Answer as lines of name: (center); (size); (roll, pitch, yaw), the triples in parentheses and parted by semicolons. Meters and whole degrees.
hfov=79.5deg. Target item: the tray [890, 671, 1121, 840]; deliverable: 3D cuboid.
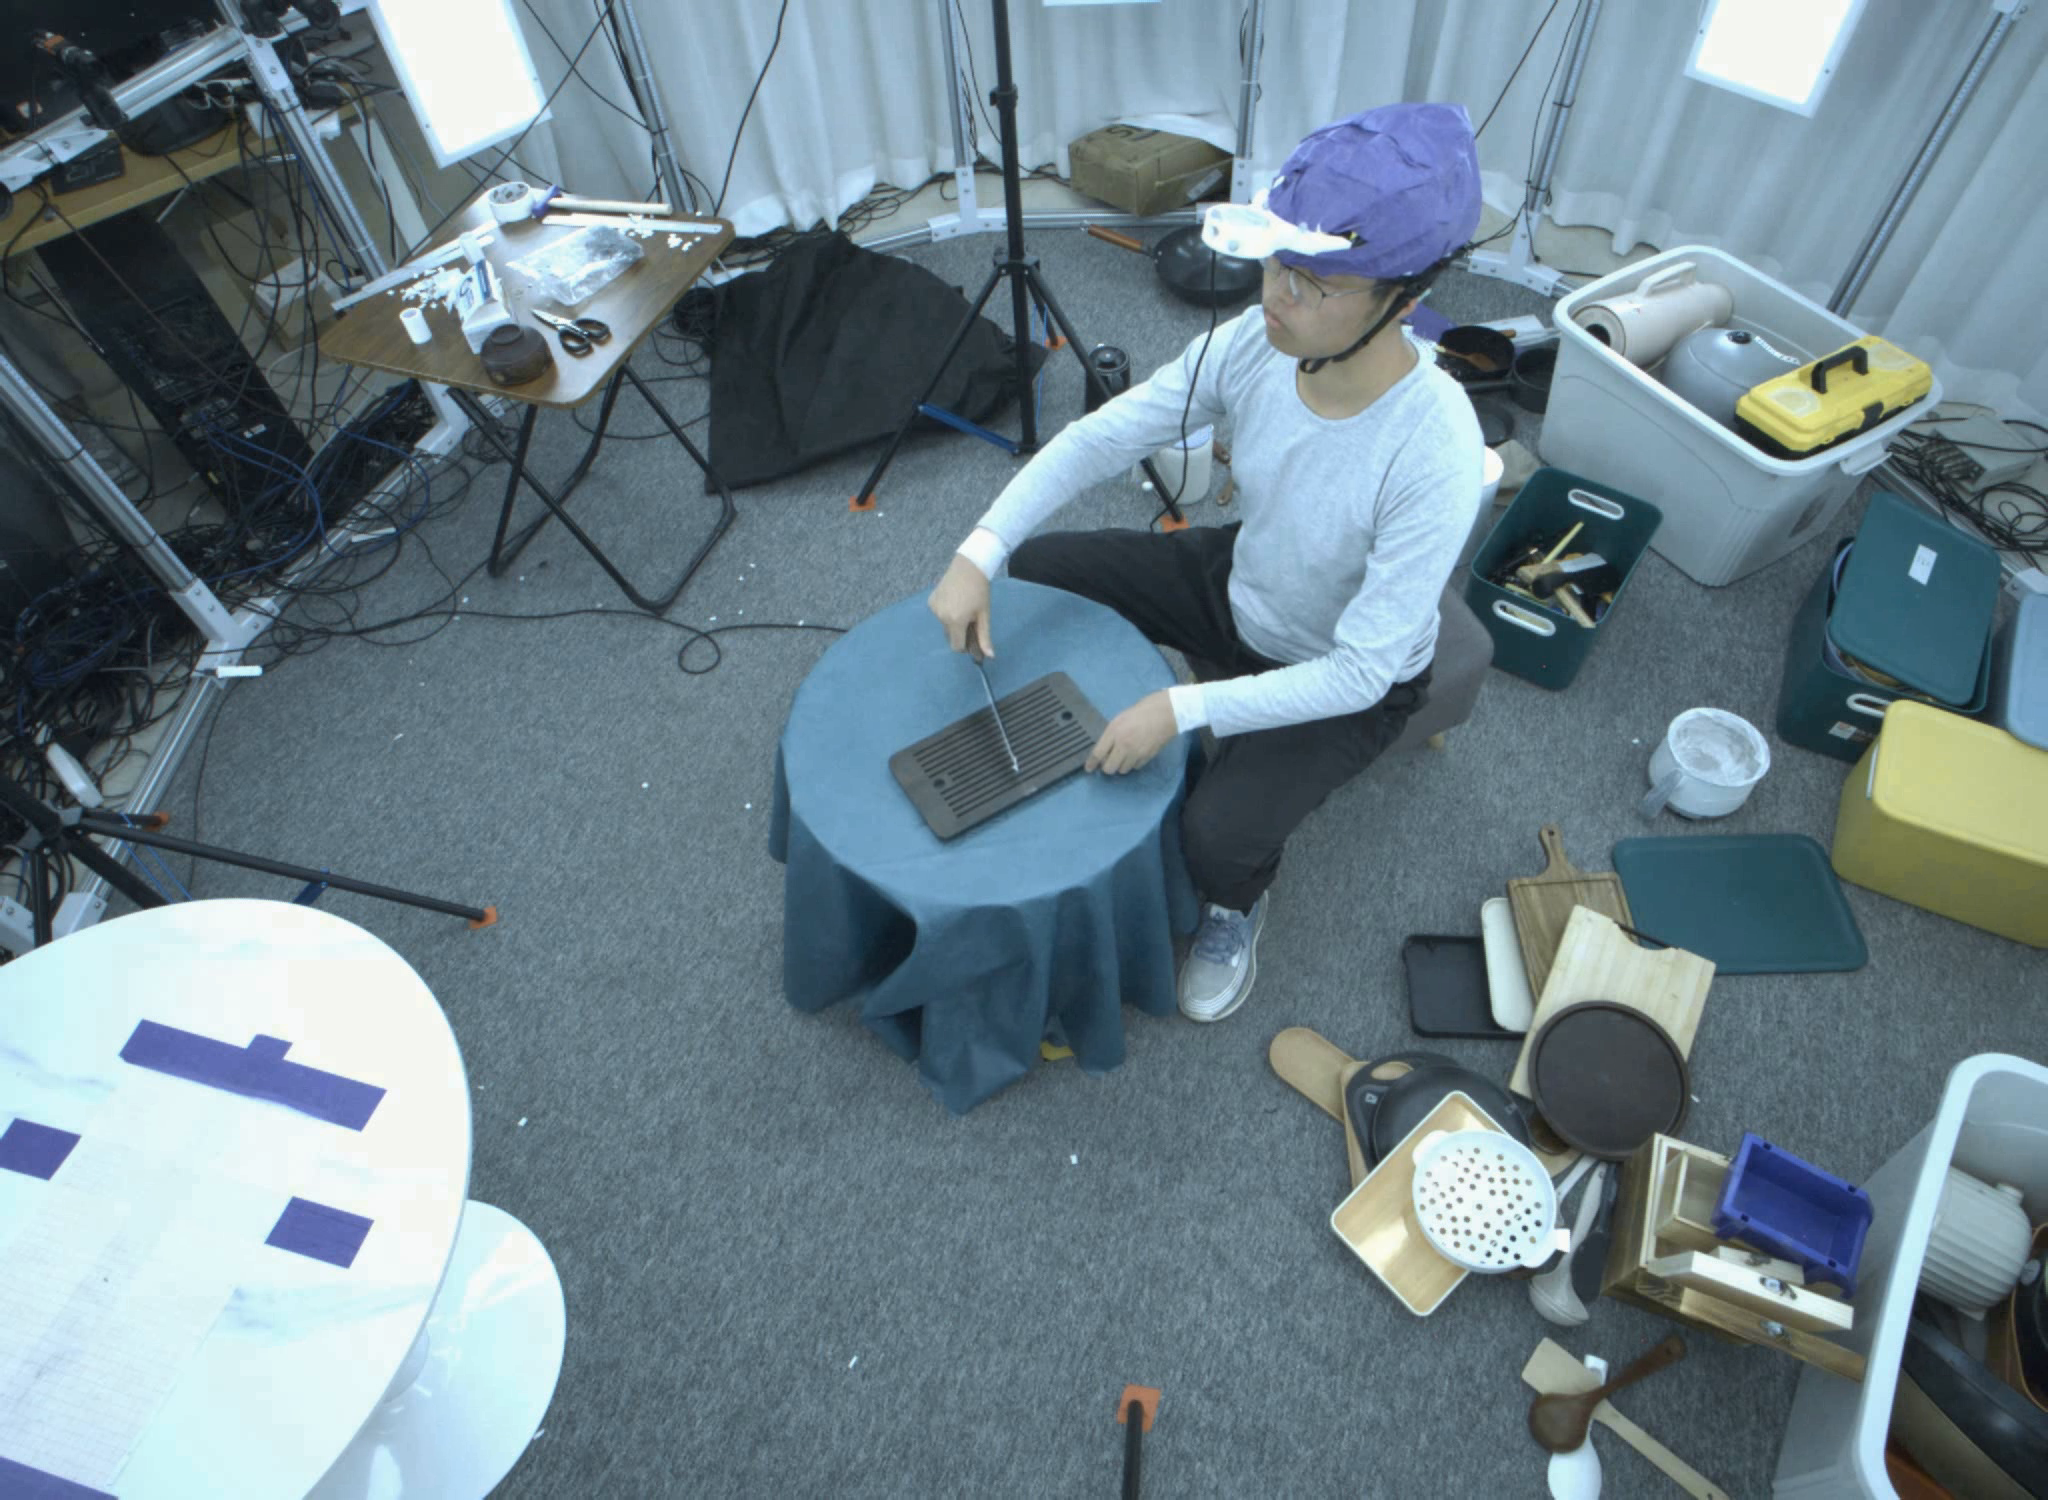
tray: (-0.027, 0.005, 1.781); (0.308, 0.019, 0.167); (-27, 58, -18)

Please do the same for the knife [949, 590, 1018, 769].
knife: (-0.056, -0.103, 1.767); (0.020, 0.050, 0.286); (-19, 74, -7)
